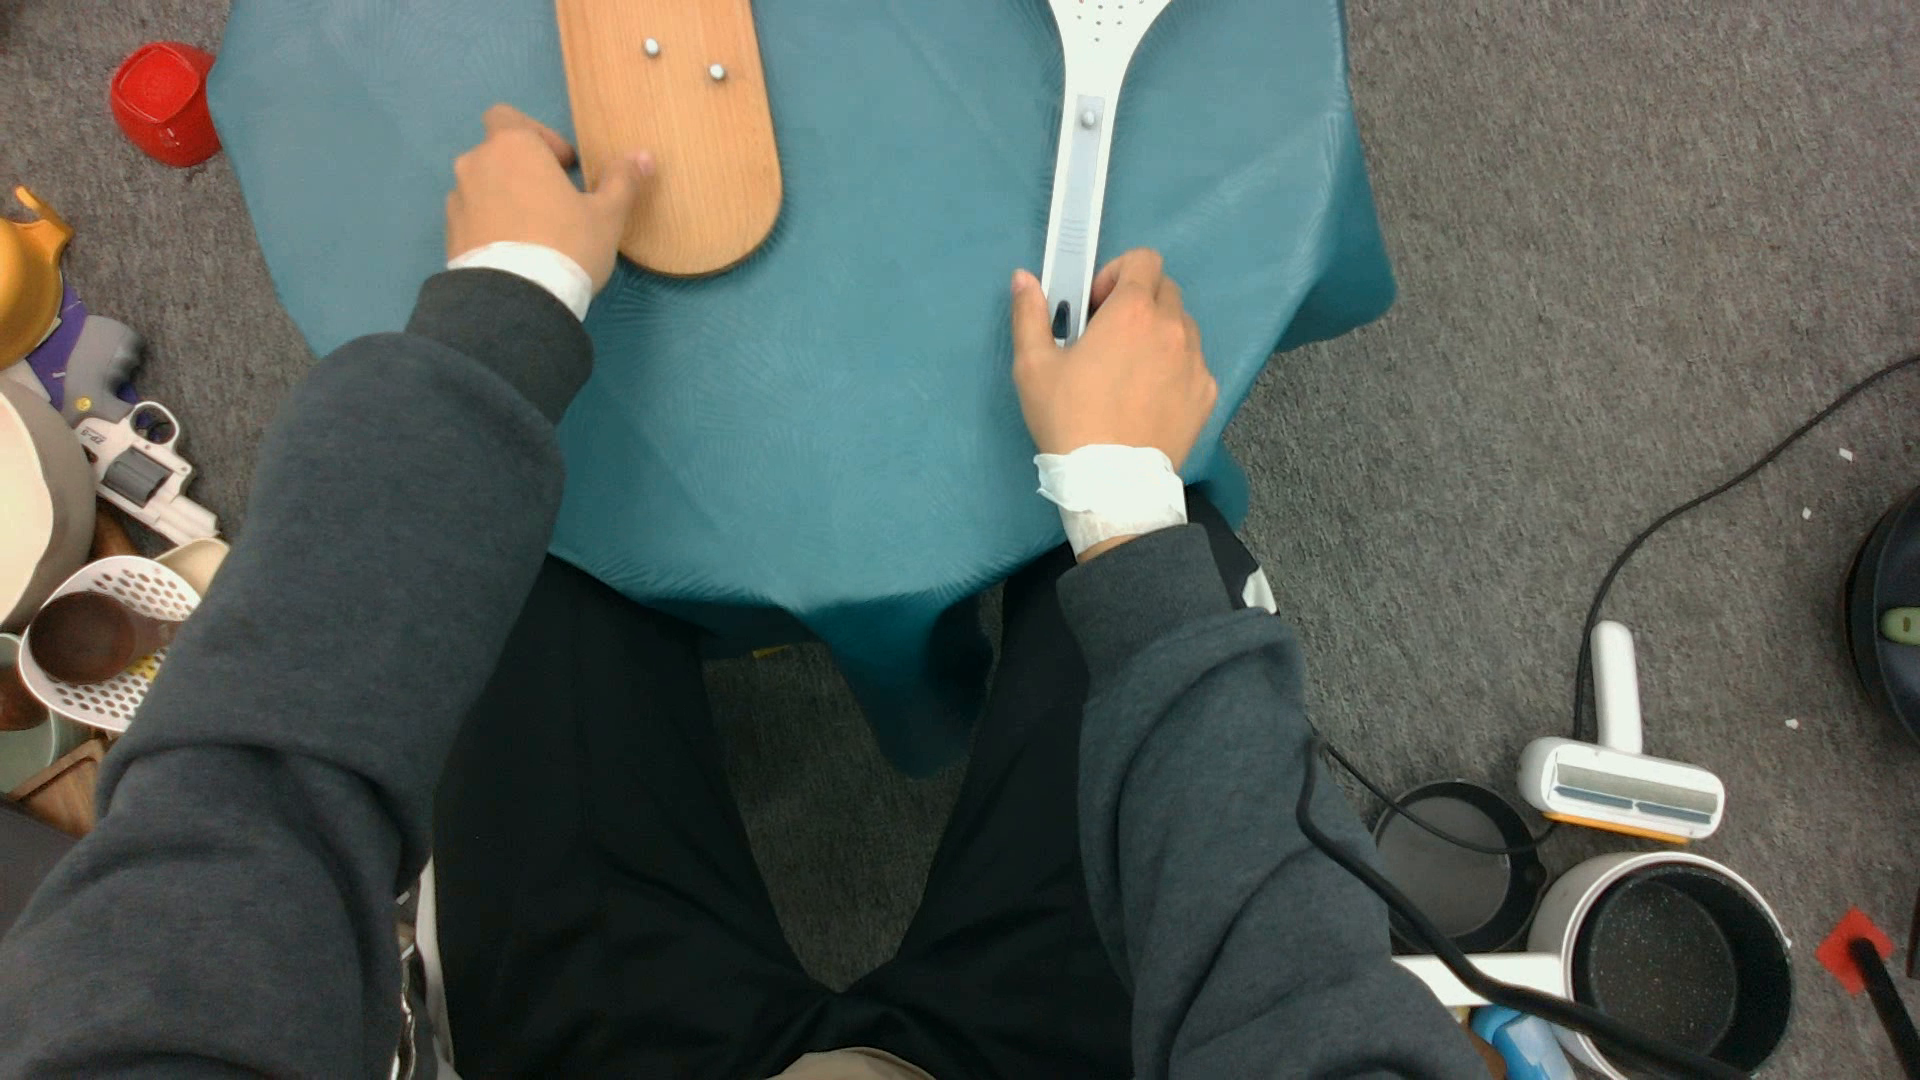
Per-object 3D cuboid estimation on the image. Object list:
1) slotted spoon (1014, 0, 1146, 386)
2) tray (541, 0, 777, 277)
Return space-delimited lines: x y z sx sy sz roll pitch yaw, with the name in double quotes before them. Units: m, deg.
"slotted spoon" 0.064 -0.255 0.734 0.136 0.045 0.350 7 81 0
"tray" -0.161 -0.249 0.729 0.102 0.020 0.231 -12 83 -5
